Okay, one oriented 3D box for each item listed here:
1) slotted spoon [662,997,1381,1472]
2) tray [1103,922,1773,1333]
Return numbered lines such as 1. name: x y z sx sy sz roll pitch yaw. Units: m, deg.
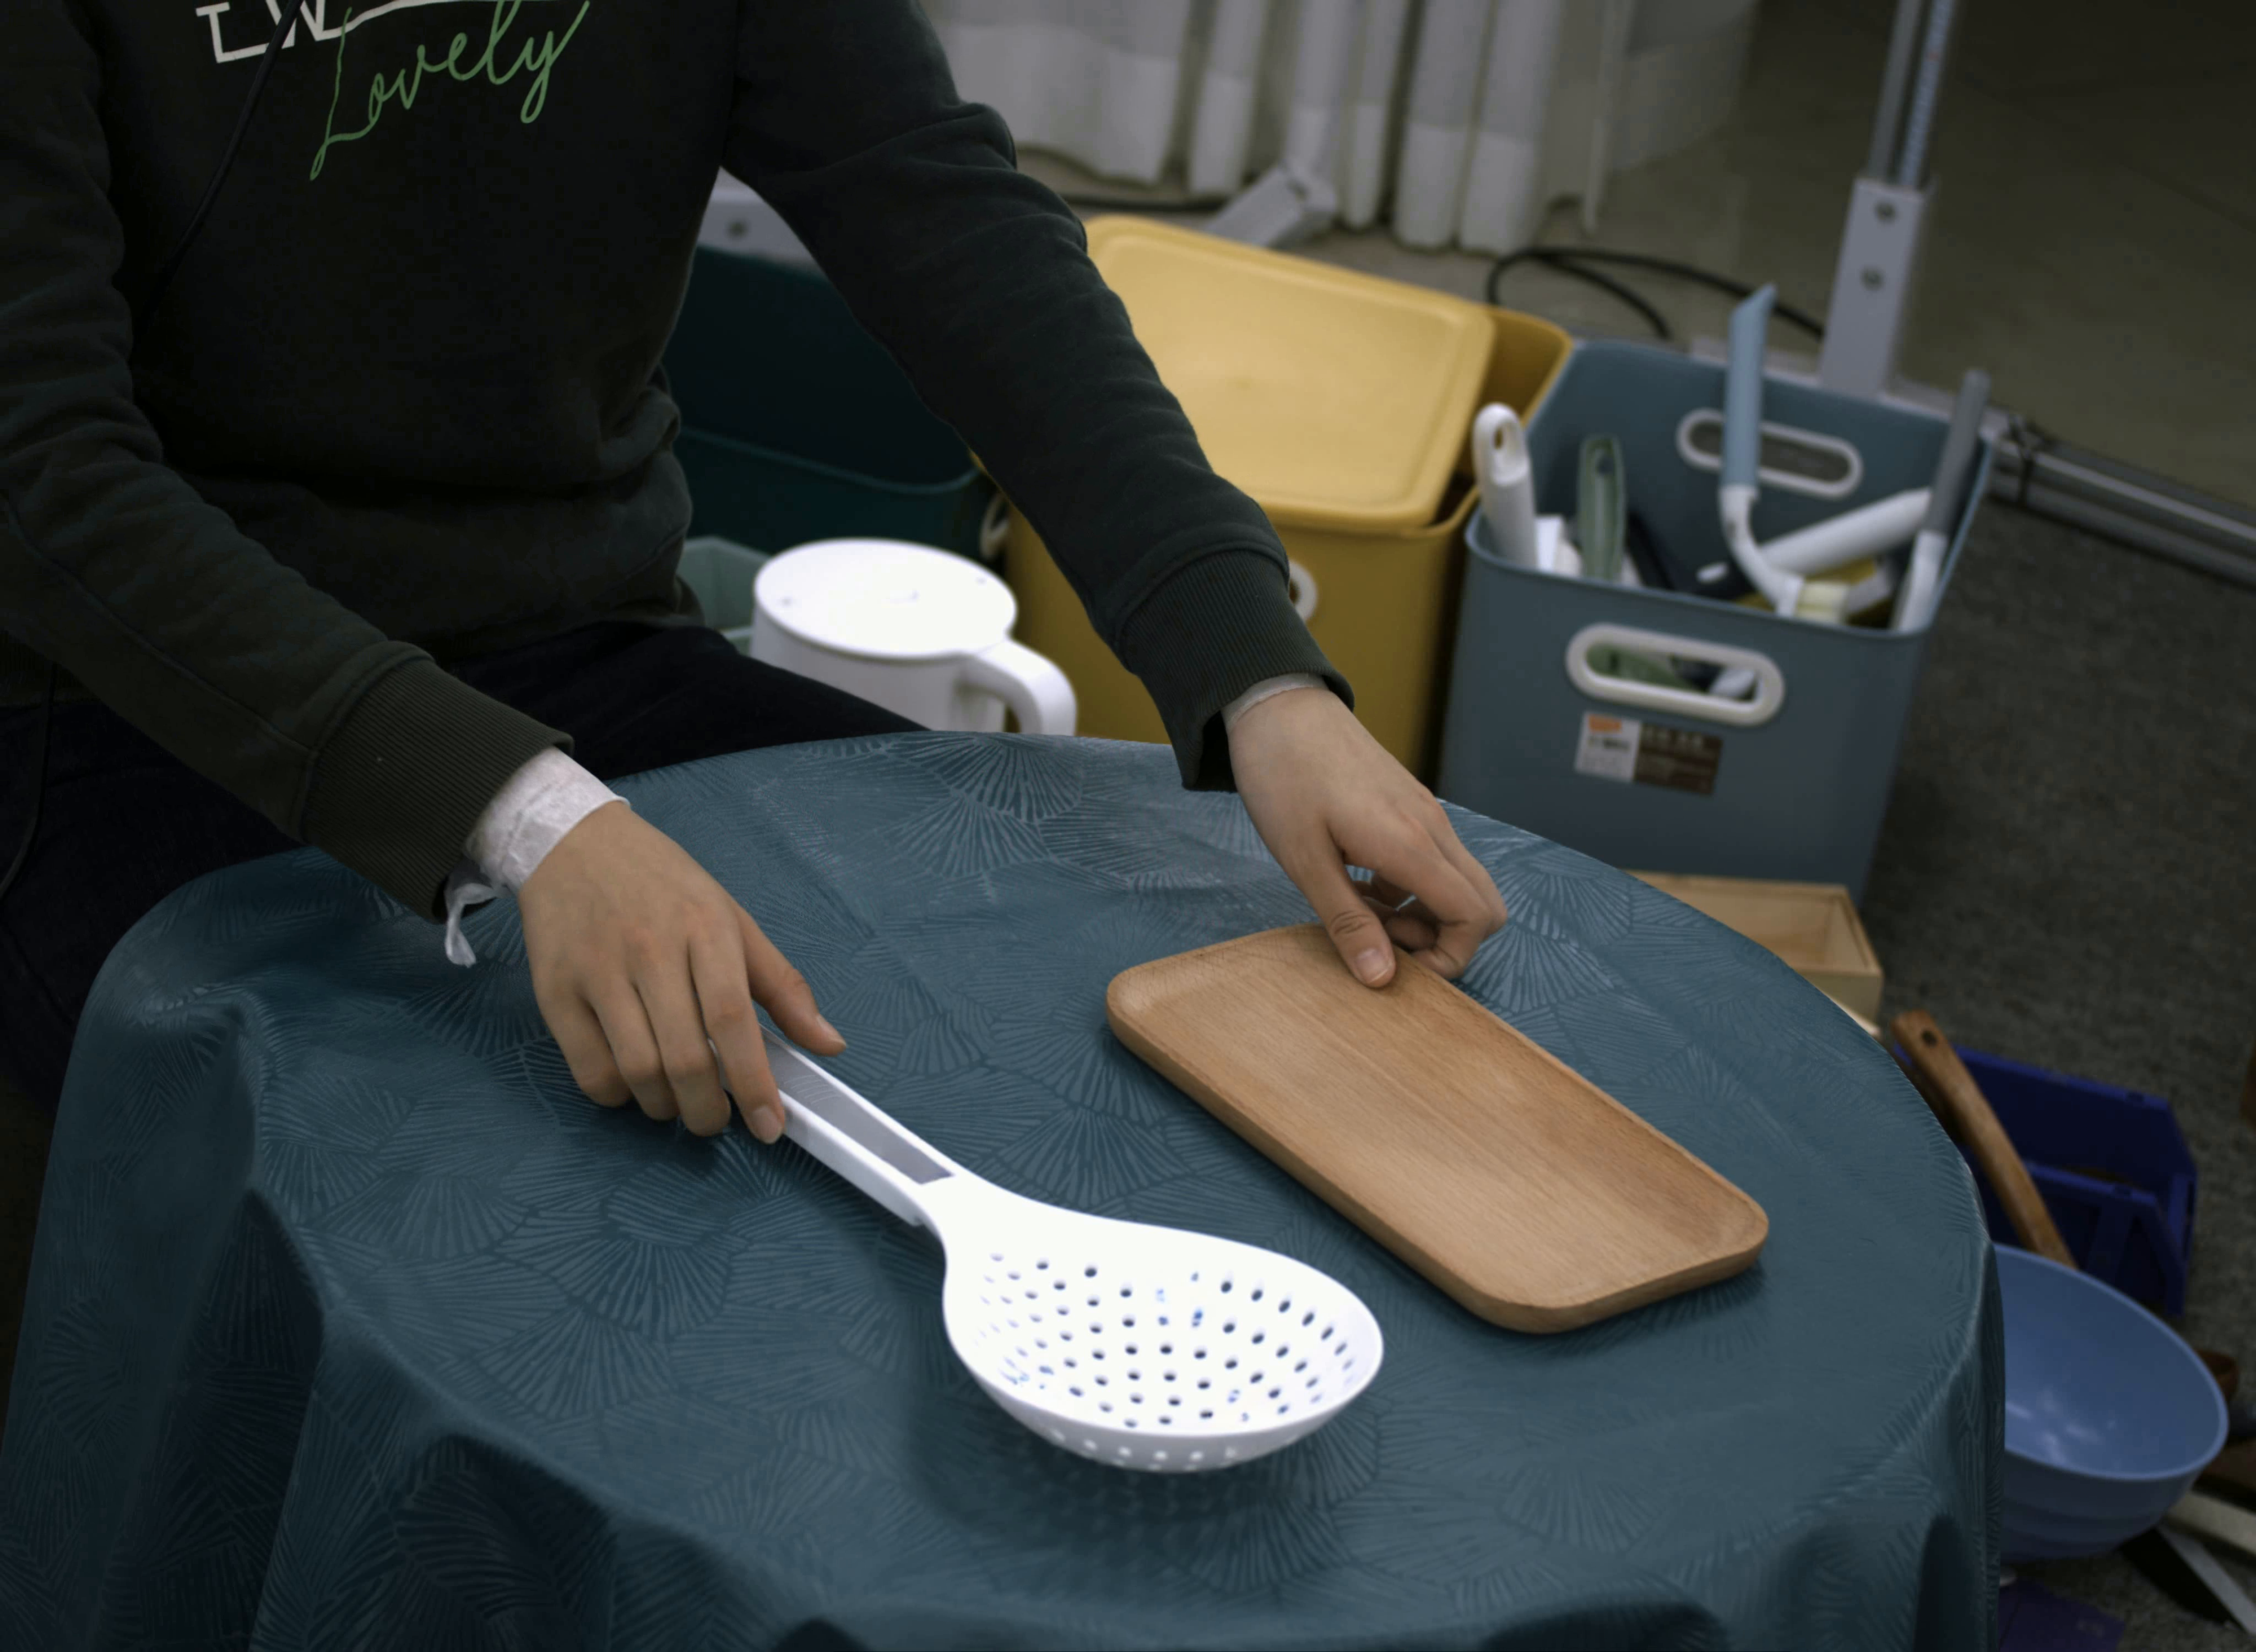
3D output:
1. slotted spoon: -0.053 0.126 1.732 0.135 0.045 0.353 -10 30 -34
2. tray: 0.104 0.102 1.848 0.130 0.023 0.253 -11 31 -35
